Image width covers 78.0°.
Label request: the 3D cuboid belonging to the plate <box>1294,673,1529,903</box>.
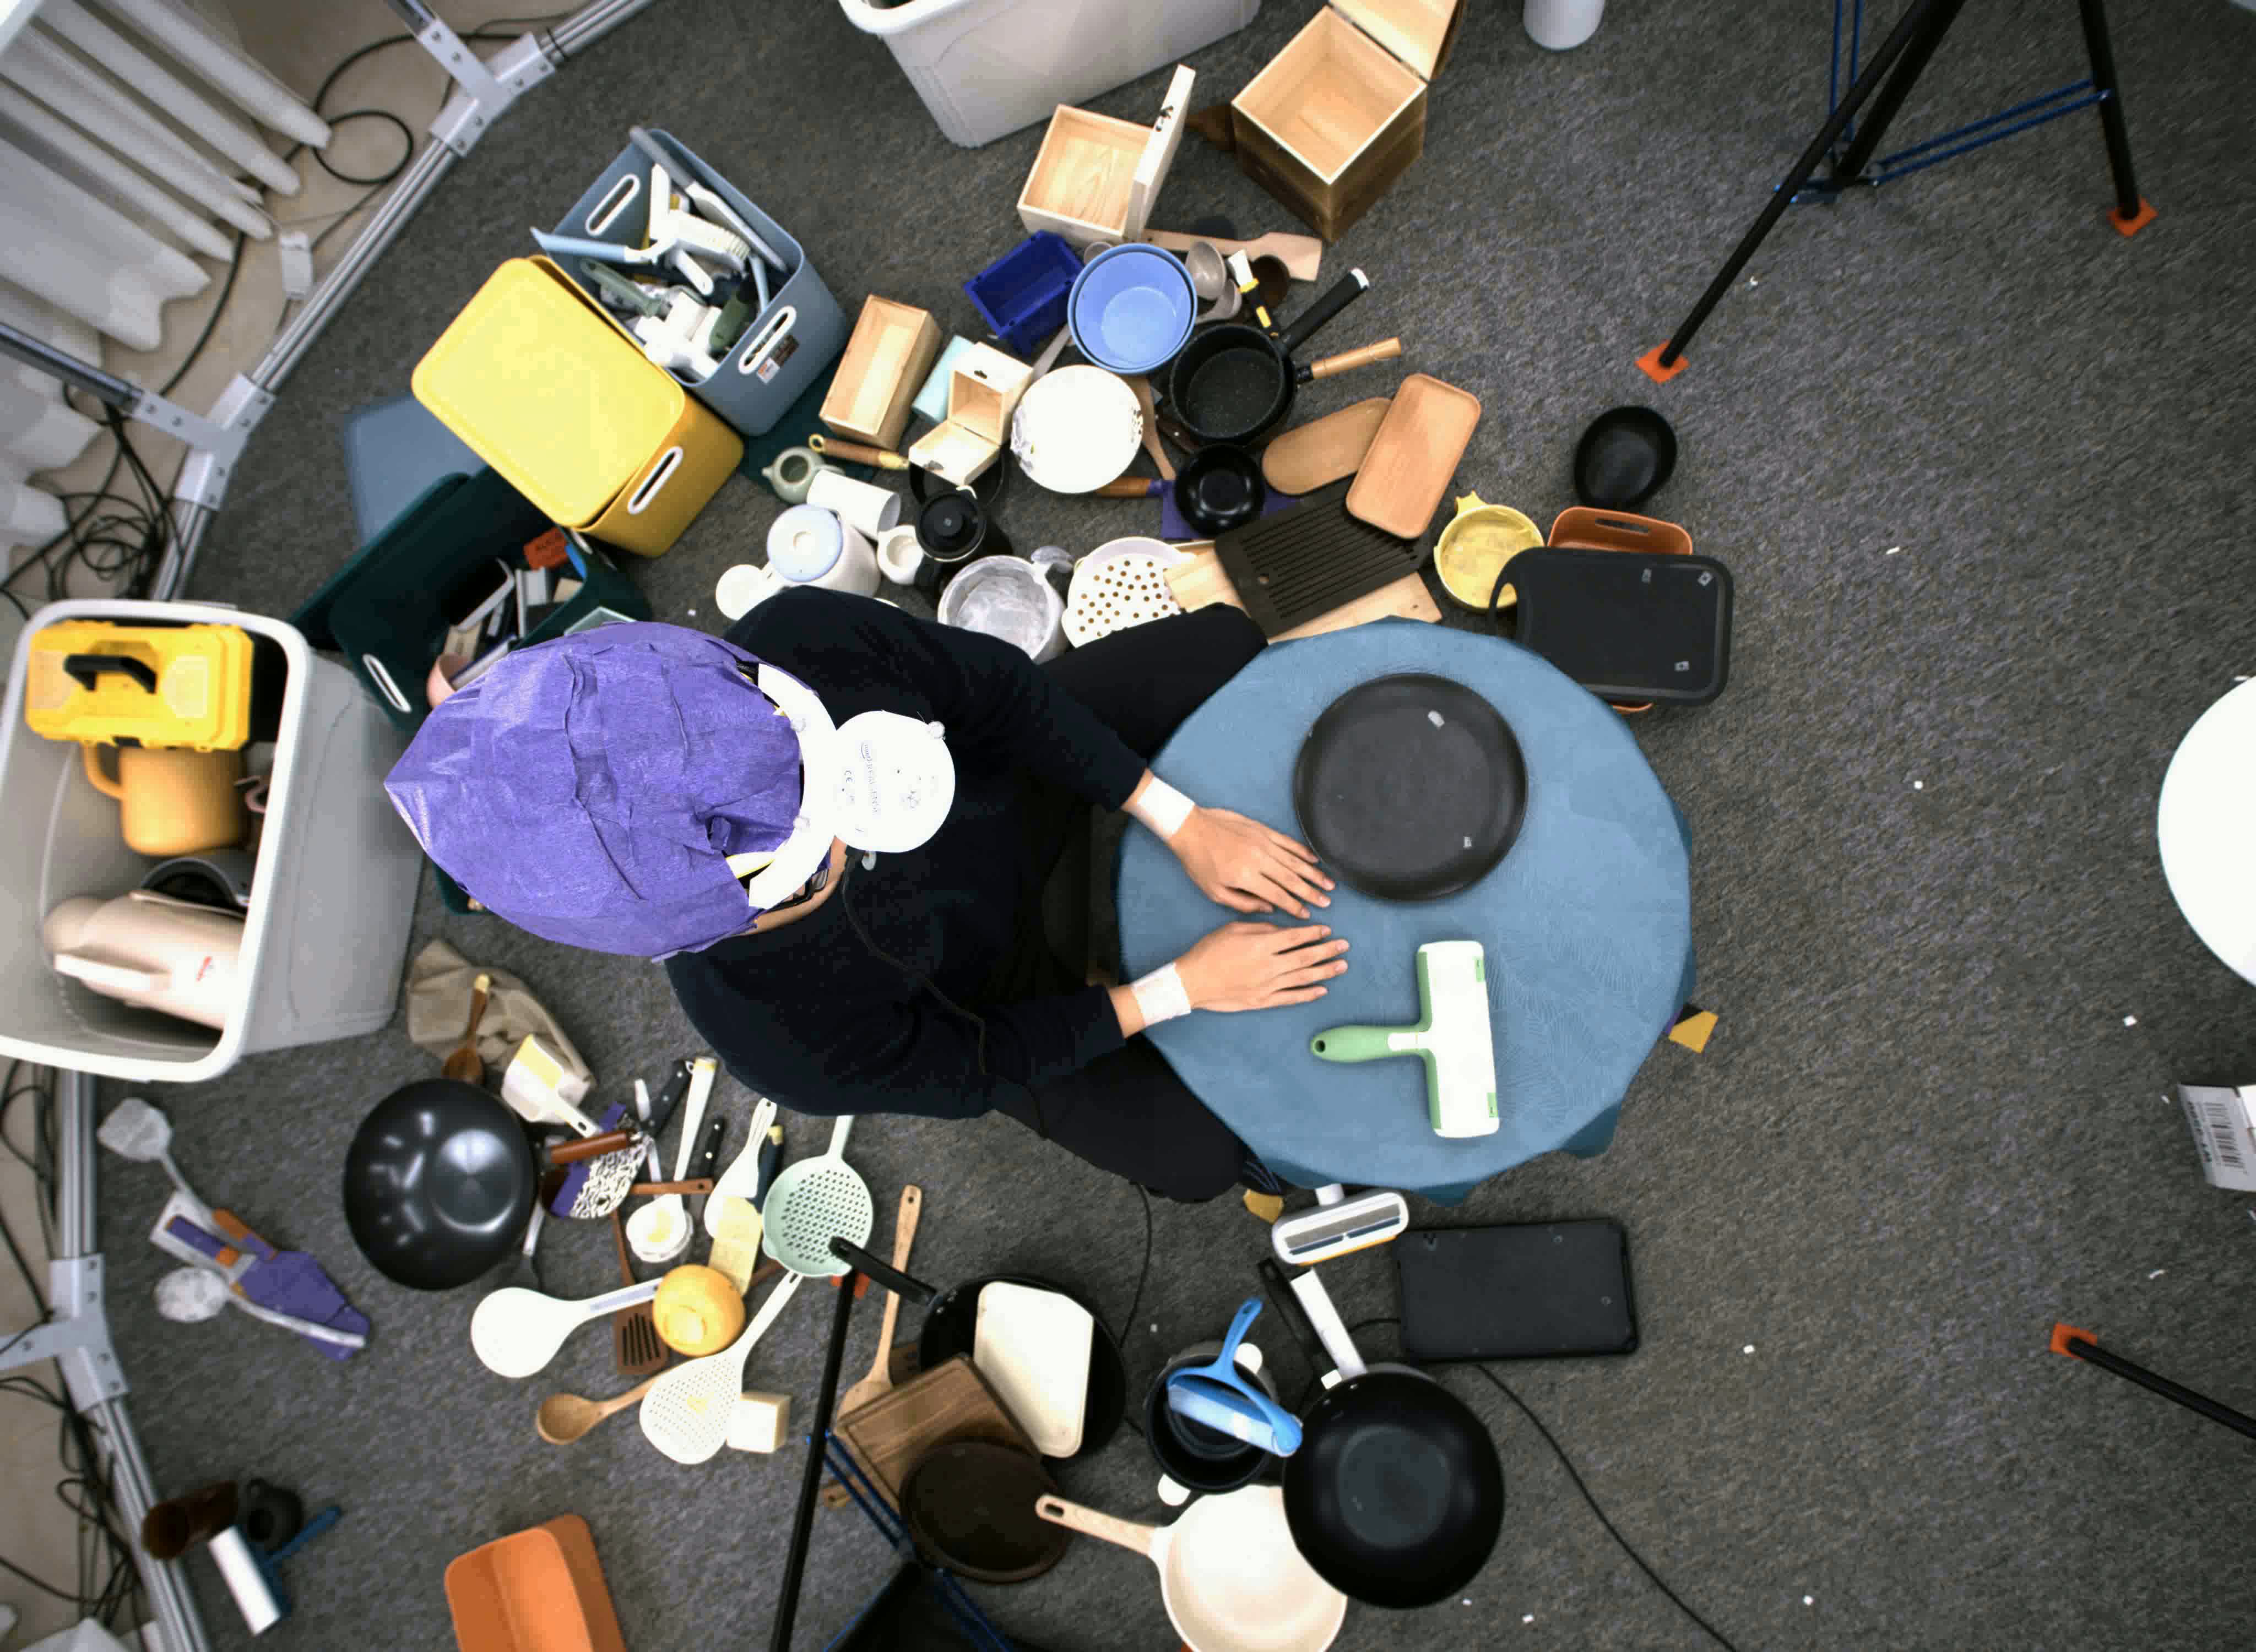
[{"bbox_3d":[0.297,-0.042,1.449,0.245,0.023,0.243,-1,87,10],"label":"plate"}]

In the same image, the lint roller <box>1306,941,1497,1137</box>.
[{"bbox_3d":[0.275,0.219,1.407,0.184,0.082,0.197,-5,84,4],"label":"lint roller"}]
